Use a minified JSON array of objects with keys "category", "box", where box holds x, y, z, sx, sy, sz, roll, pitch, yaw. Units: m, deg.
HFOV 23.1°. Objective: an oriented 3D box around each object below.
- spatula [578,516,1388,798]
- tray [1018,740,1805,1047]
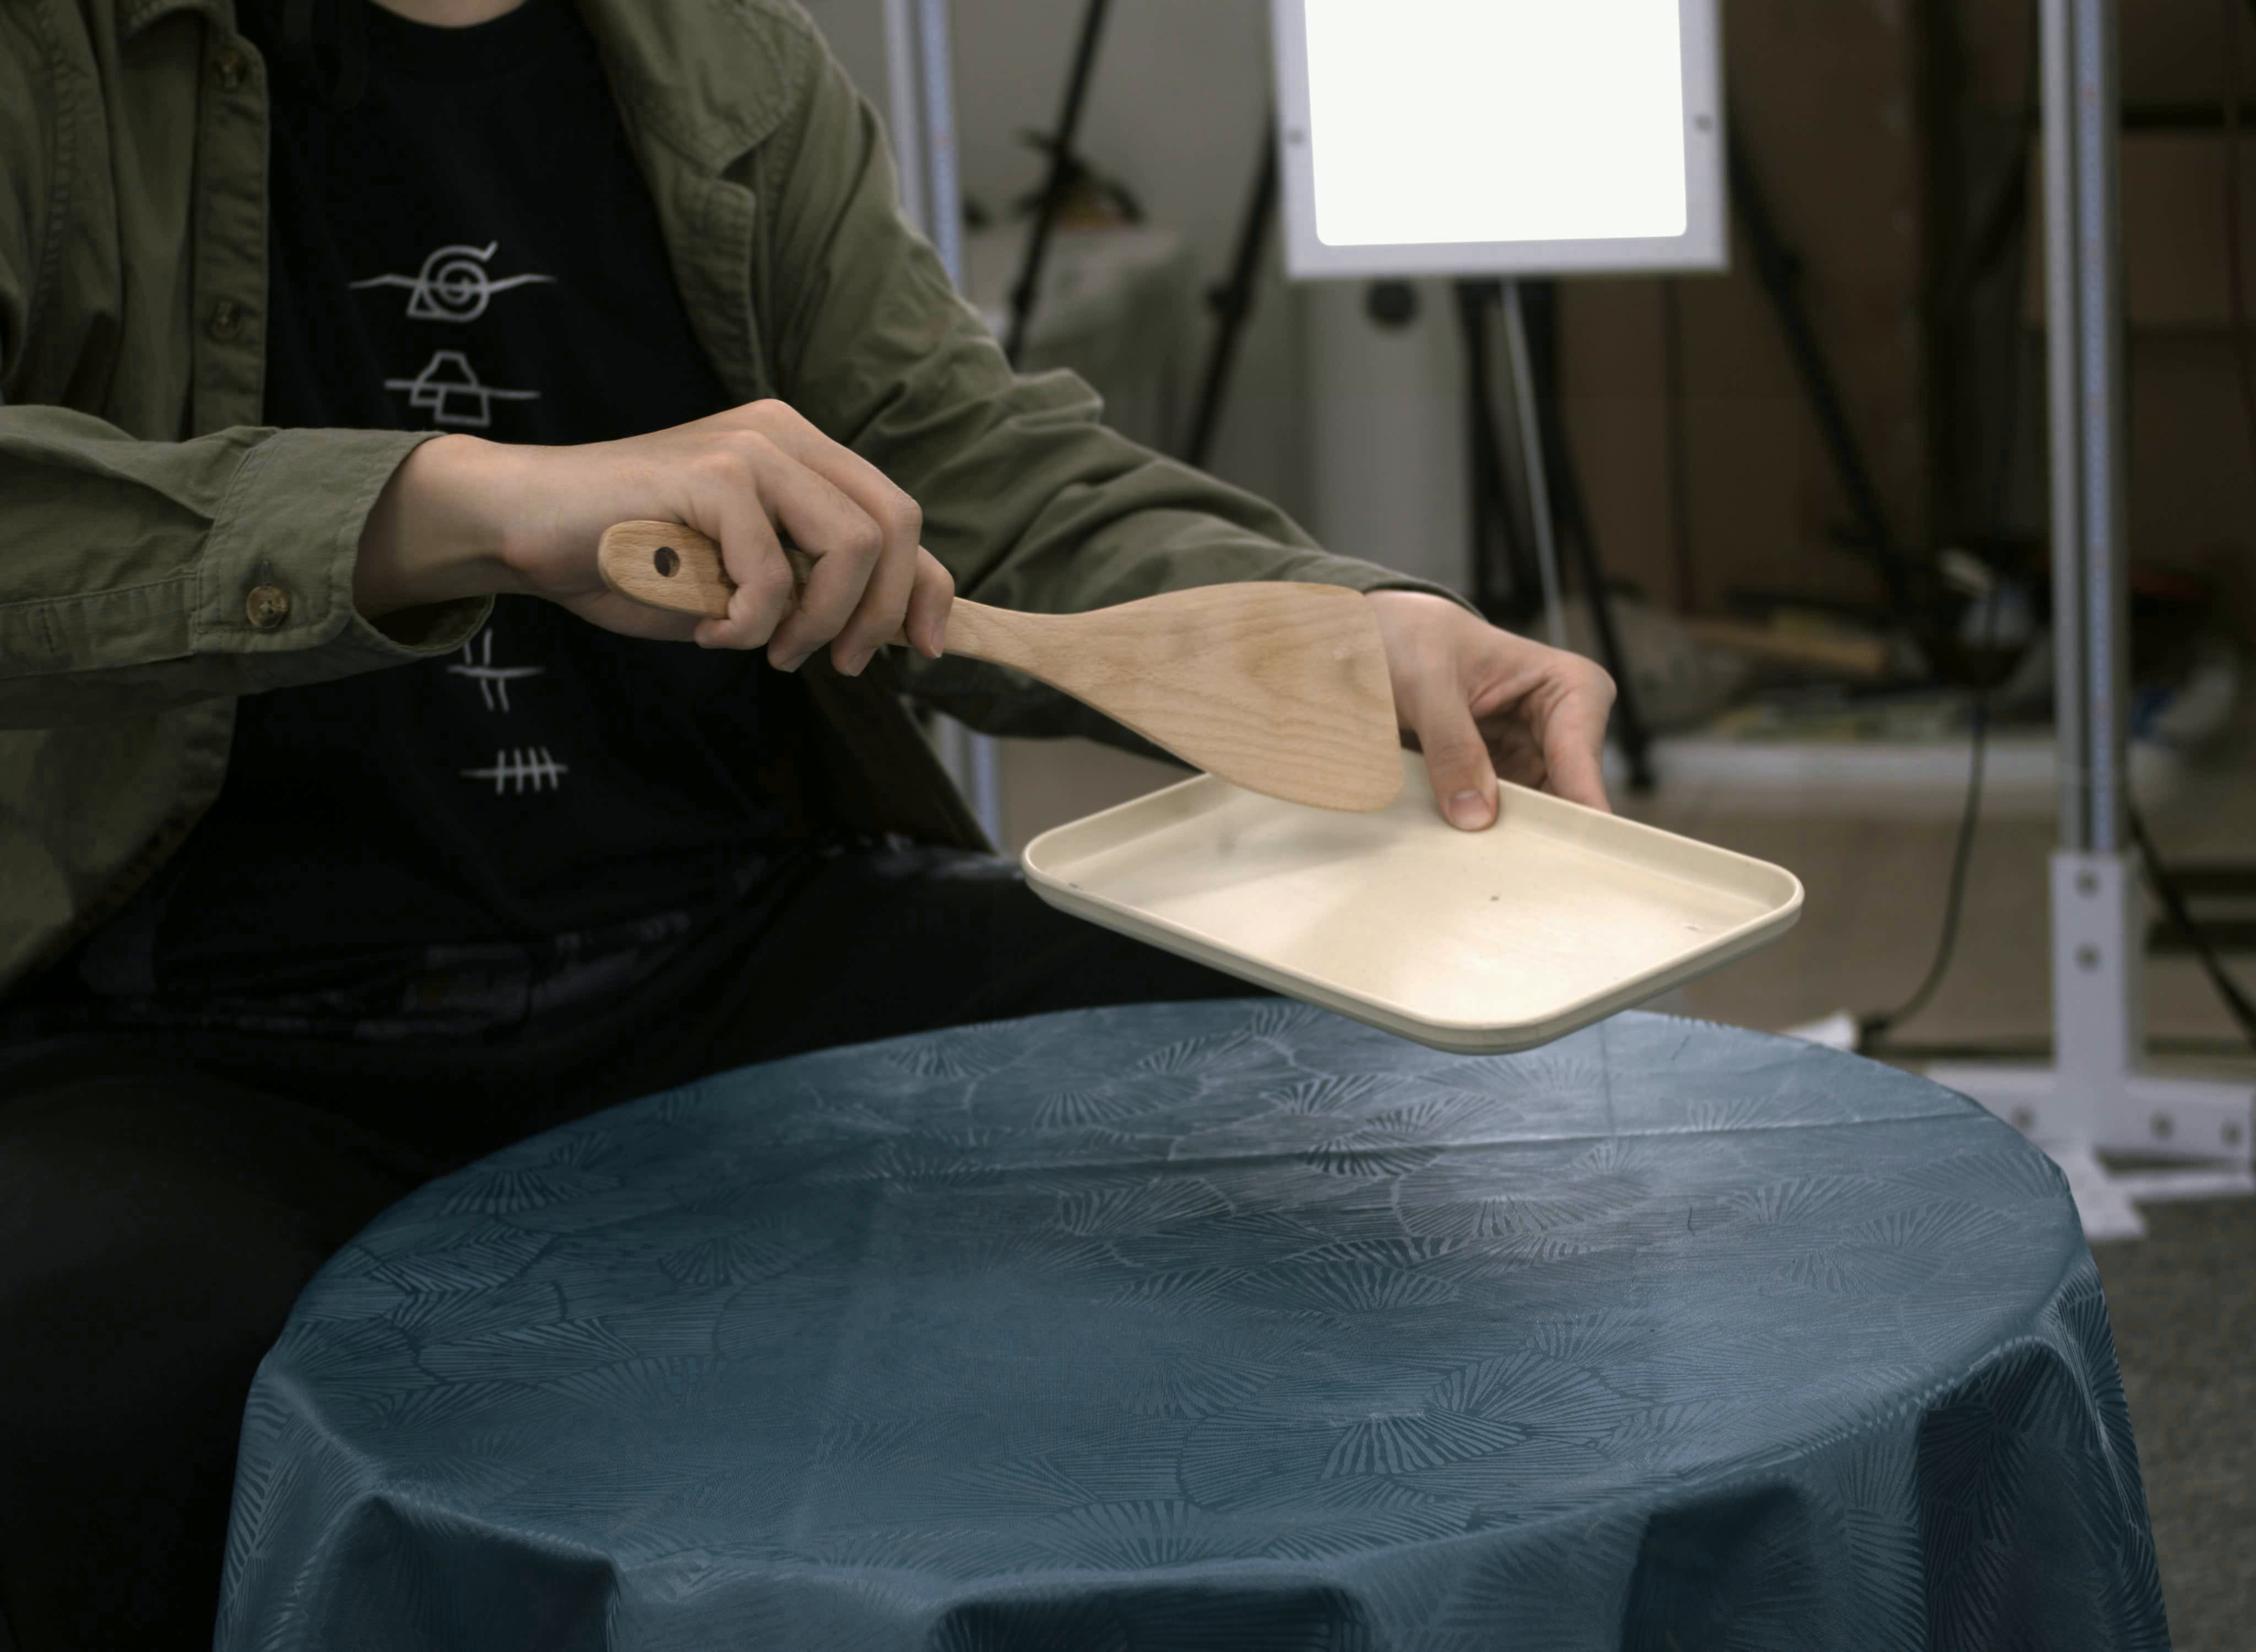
[{"category":"spatula","box":[-0.041,-0.066,1.796,0.320,0.080,0.017,9,-15,-37]},{"category":"tray","box":[0.093,0.021,1.828,0.167,0.017,0.244,-20,26,-37]}]
